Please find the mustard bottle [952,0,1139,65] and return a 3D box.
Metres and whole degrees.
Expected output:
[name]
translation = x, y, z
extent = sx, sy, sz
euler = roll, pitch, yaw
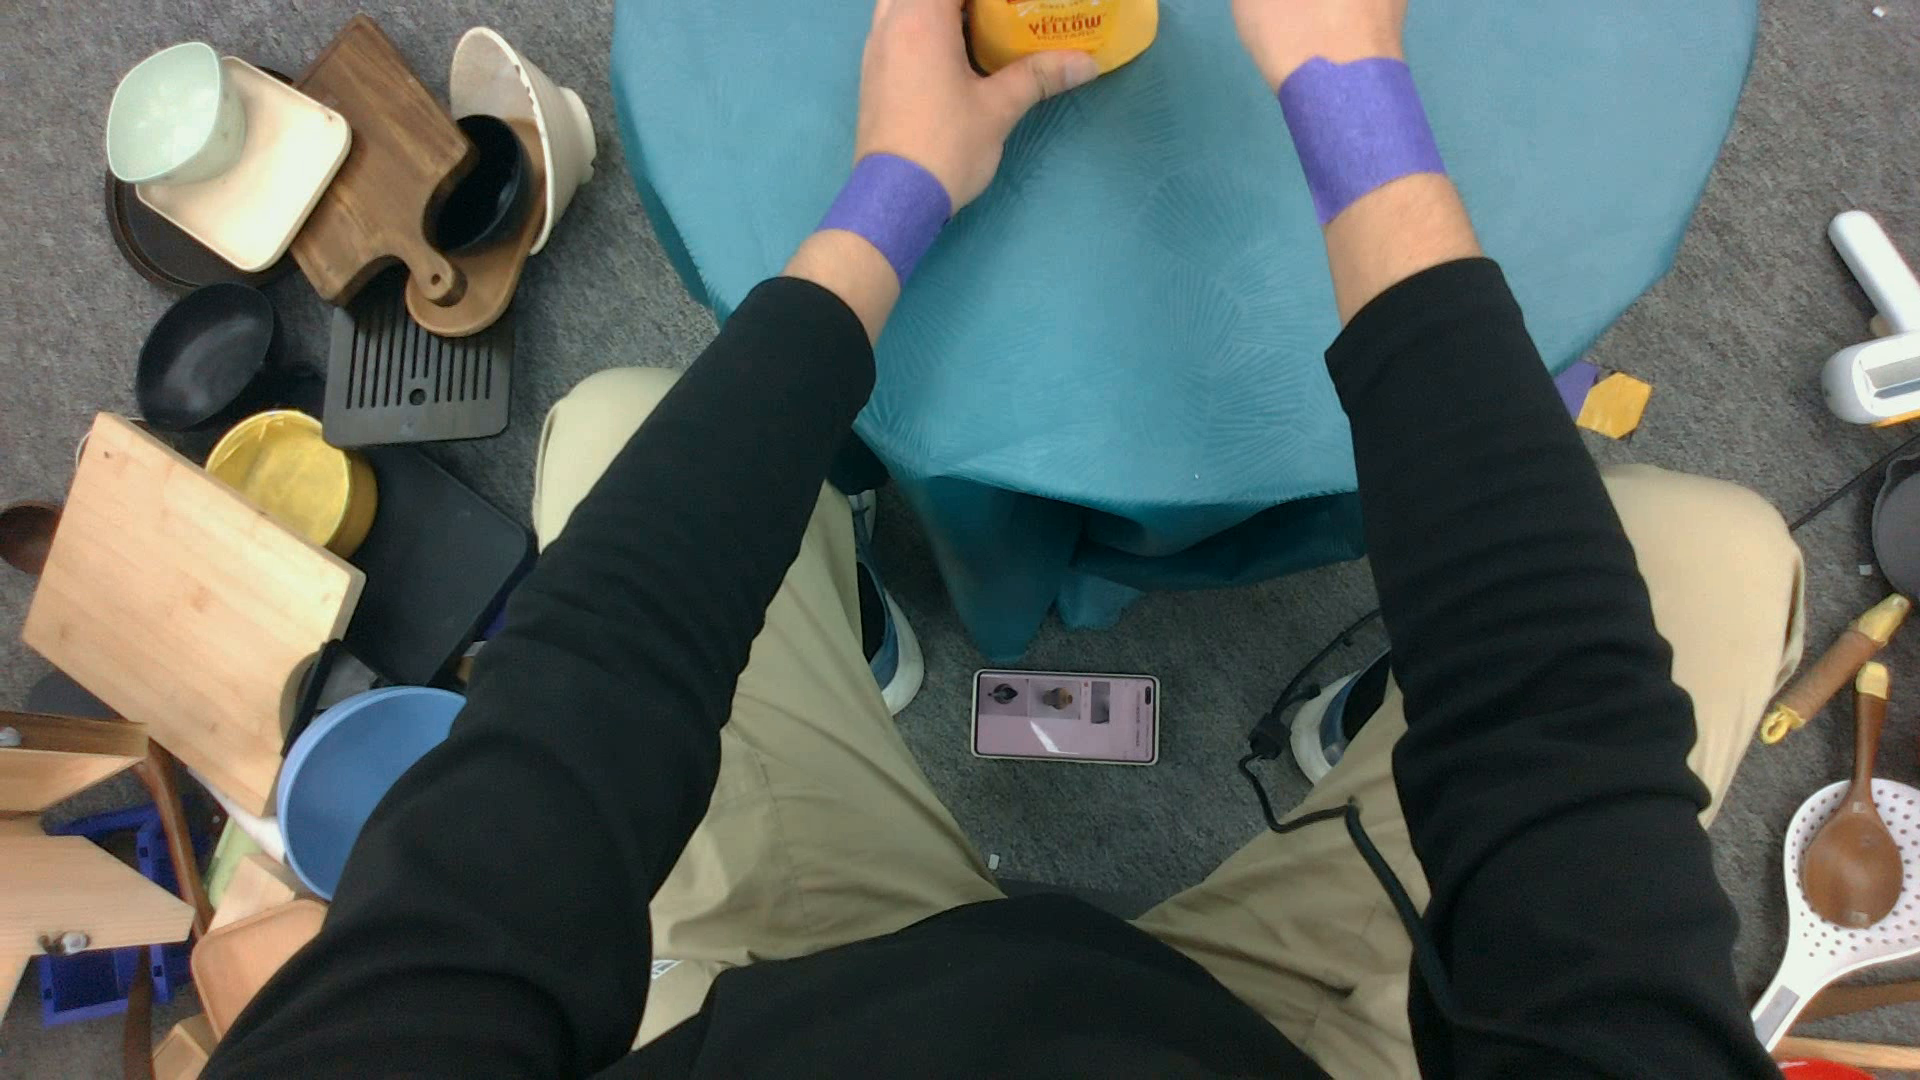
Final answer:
[mustard bottle]
translation = 0.038, -0.284, 0.646
extent = 0.098, 0.172, 0.059
euler = -11, 86, 3
